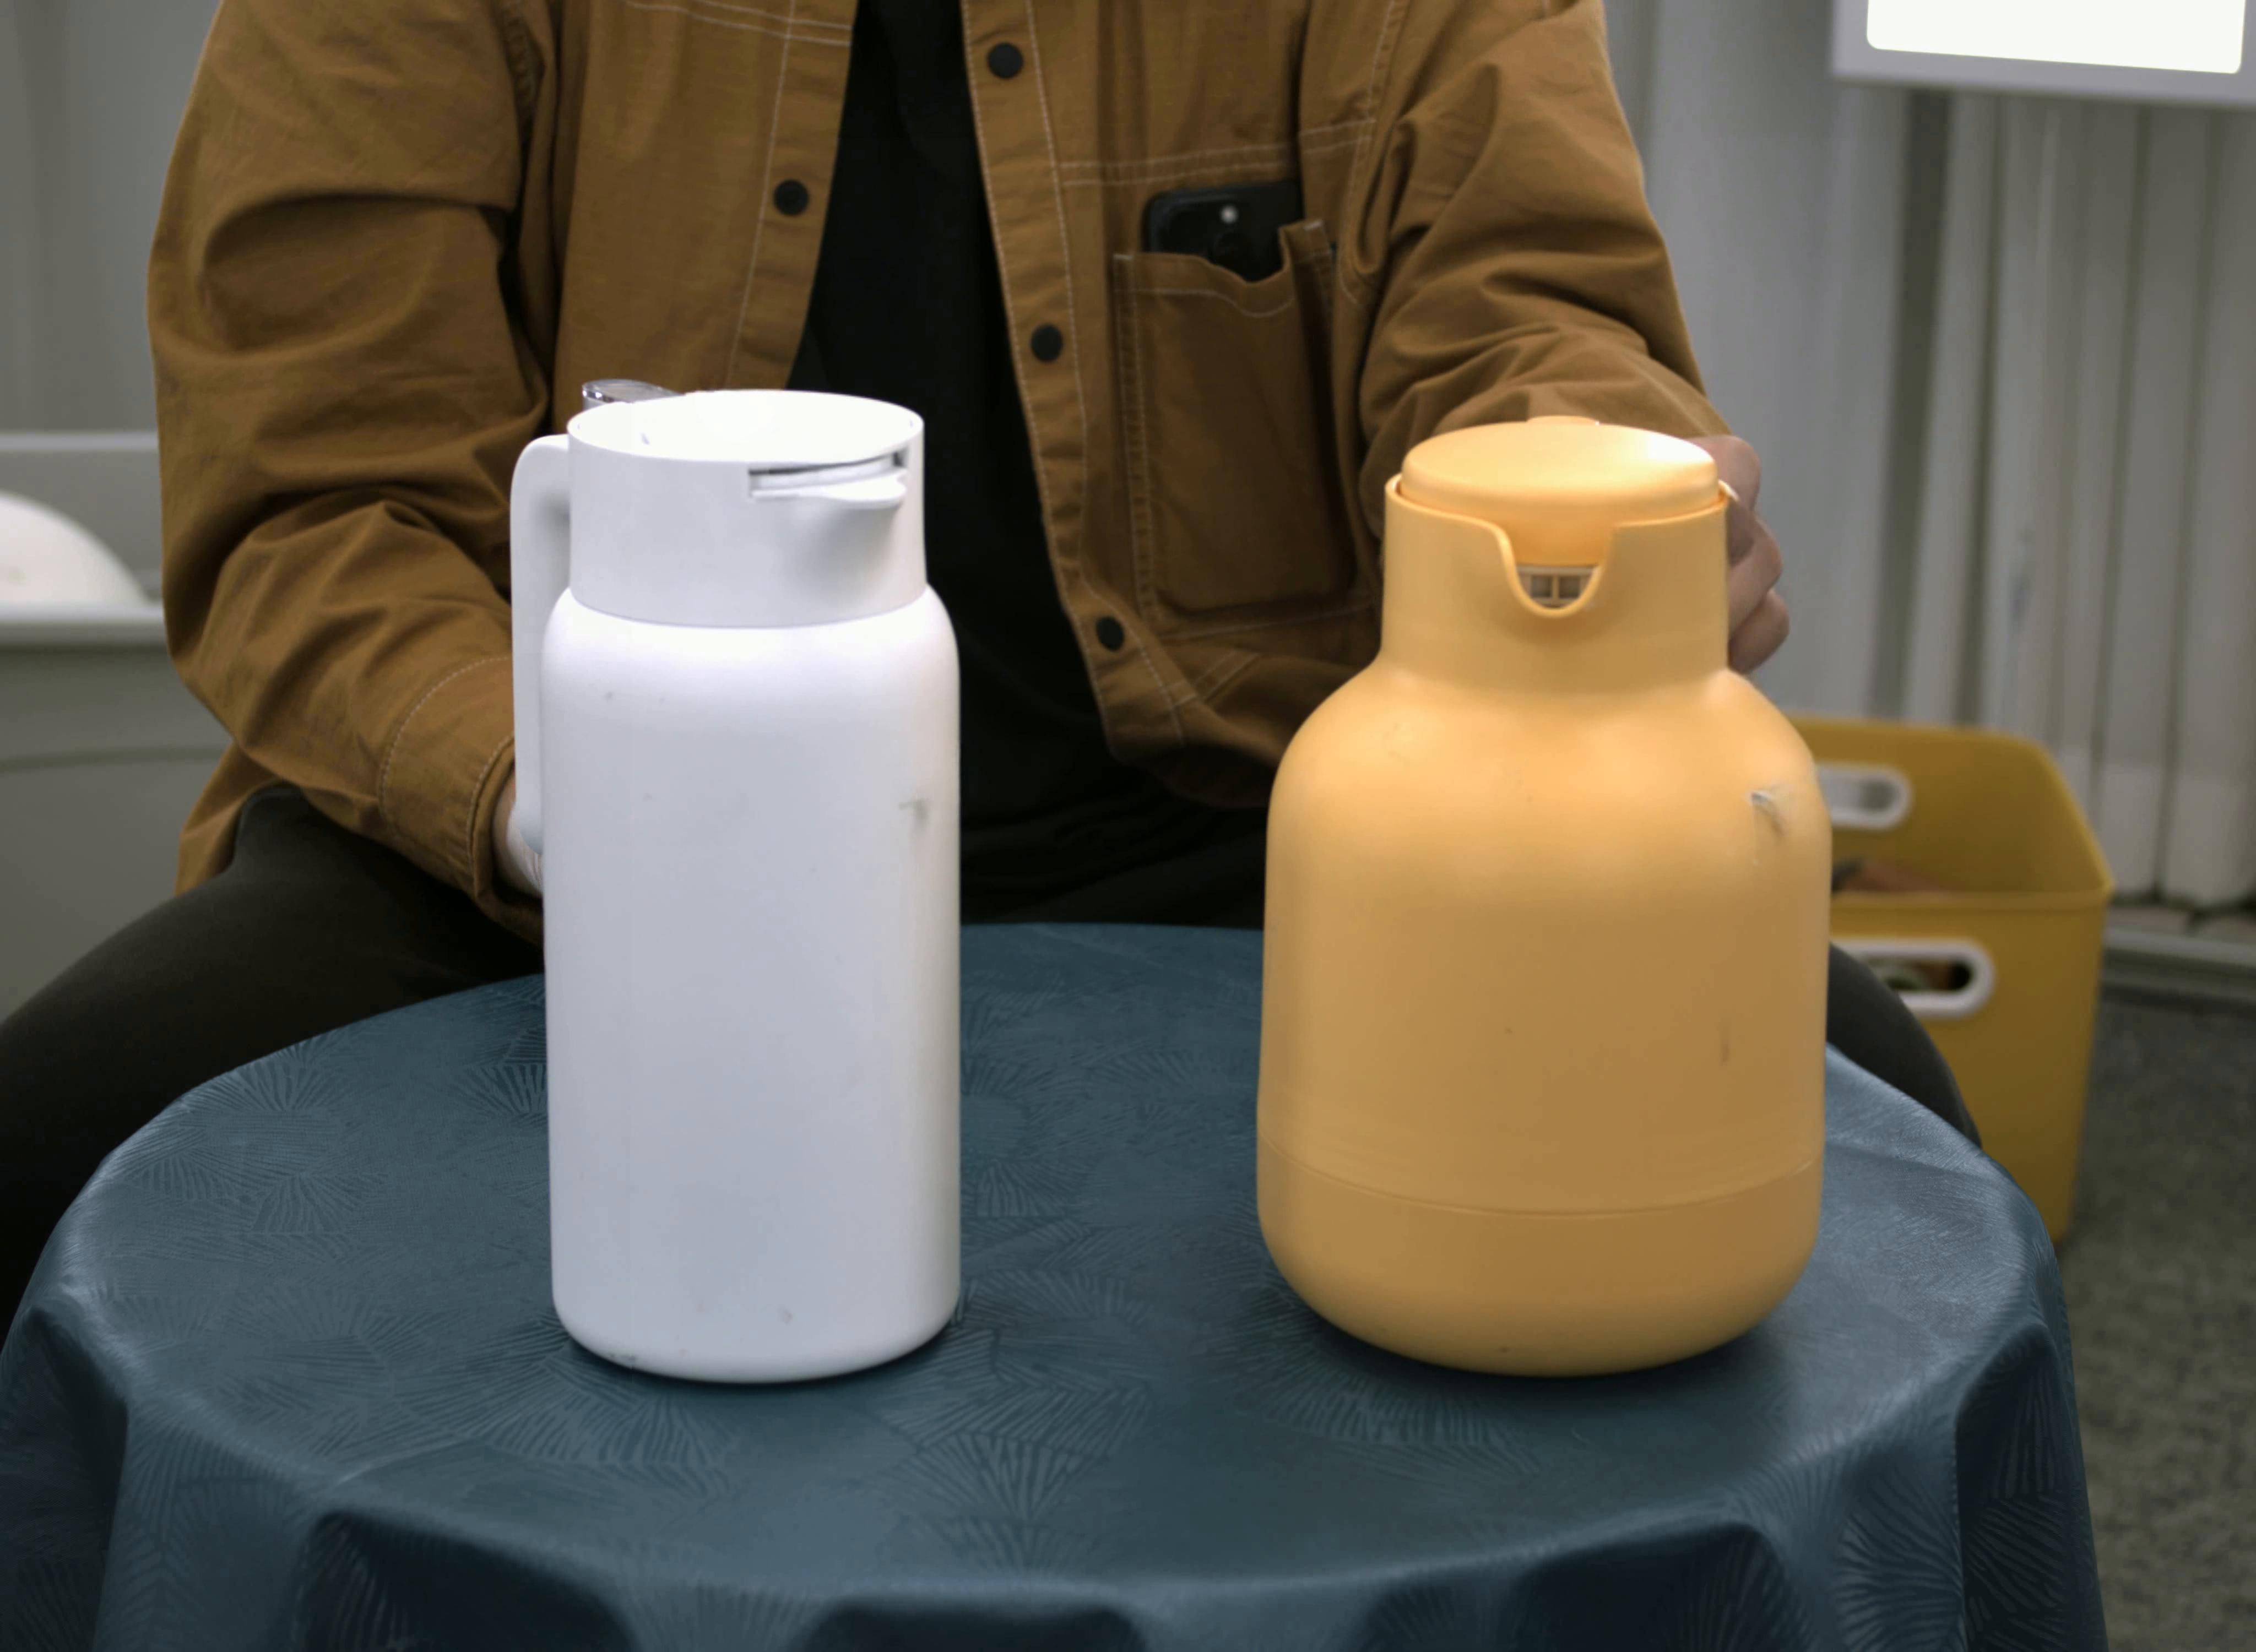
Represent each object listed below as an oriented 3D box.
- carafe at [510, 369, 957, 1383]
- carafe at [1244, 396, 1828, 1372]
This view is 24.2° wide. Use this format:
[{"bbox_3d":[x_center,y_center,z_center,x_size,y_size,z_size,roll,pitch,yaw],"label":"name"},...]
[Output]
[{"bbox_3d":[-0.118,0.010,1.485,0.124,0.271,0.170,-14,21,-36],"label":"carafe"},{"bbox_3d":[0.121,0.008,1.507,0.162,0.262,0.201,5,18,6],"label":"carafe"}]
